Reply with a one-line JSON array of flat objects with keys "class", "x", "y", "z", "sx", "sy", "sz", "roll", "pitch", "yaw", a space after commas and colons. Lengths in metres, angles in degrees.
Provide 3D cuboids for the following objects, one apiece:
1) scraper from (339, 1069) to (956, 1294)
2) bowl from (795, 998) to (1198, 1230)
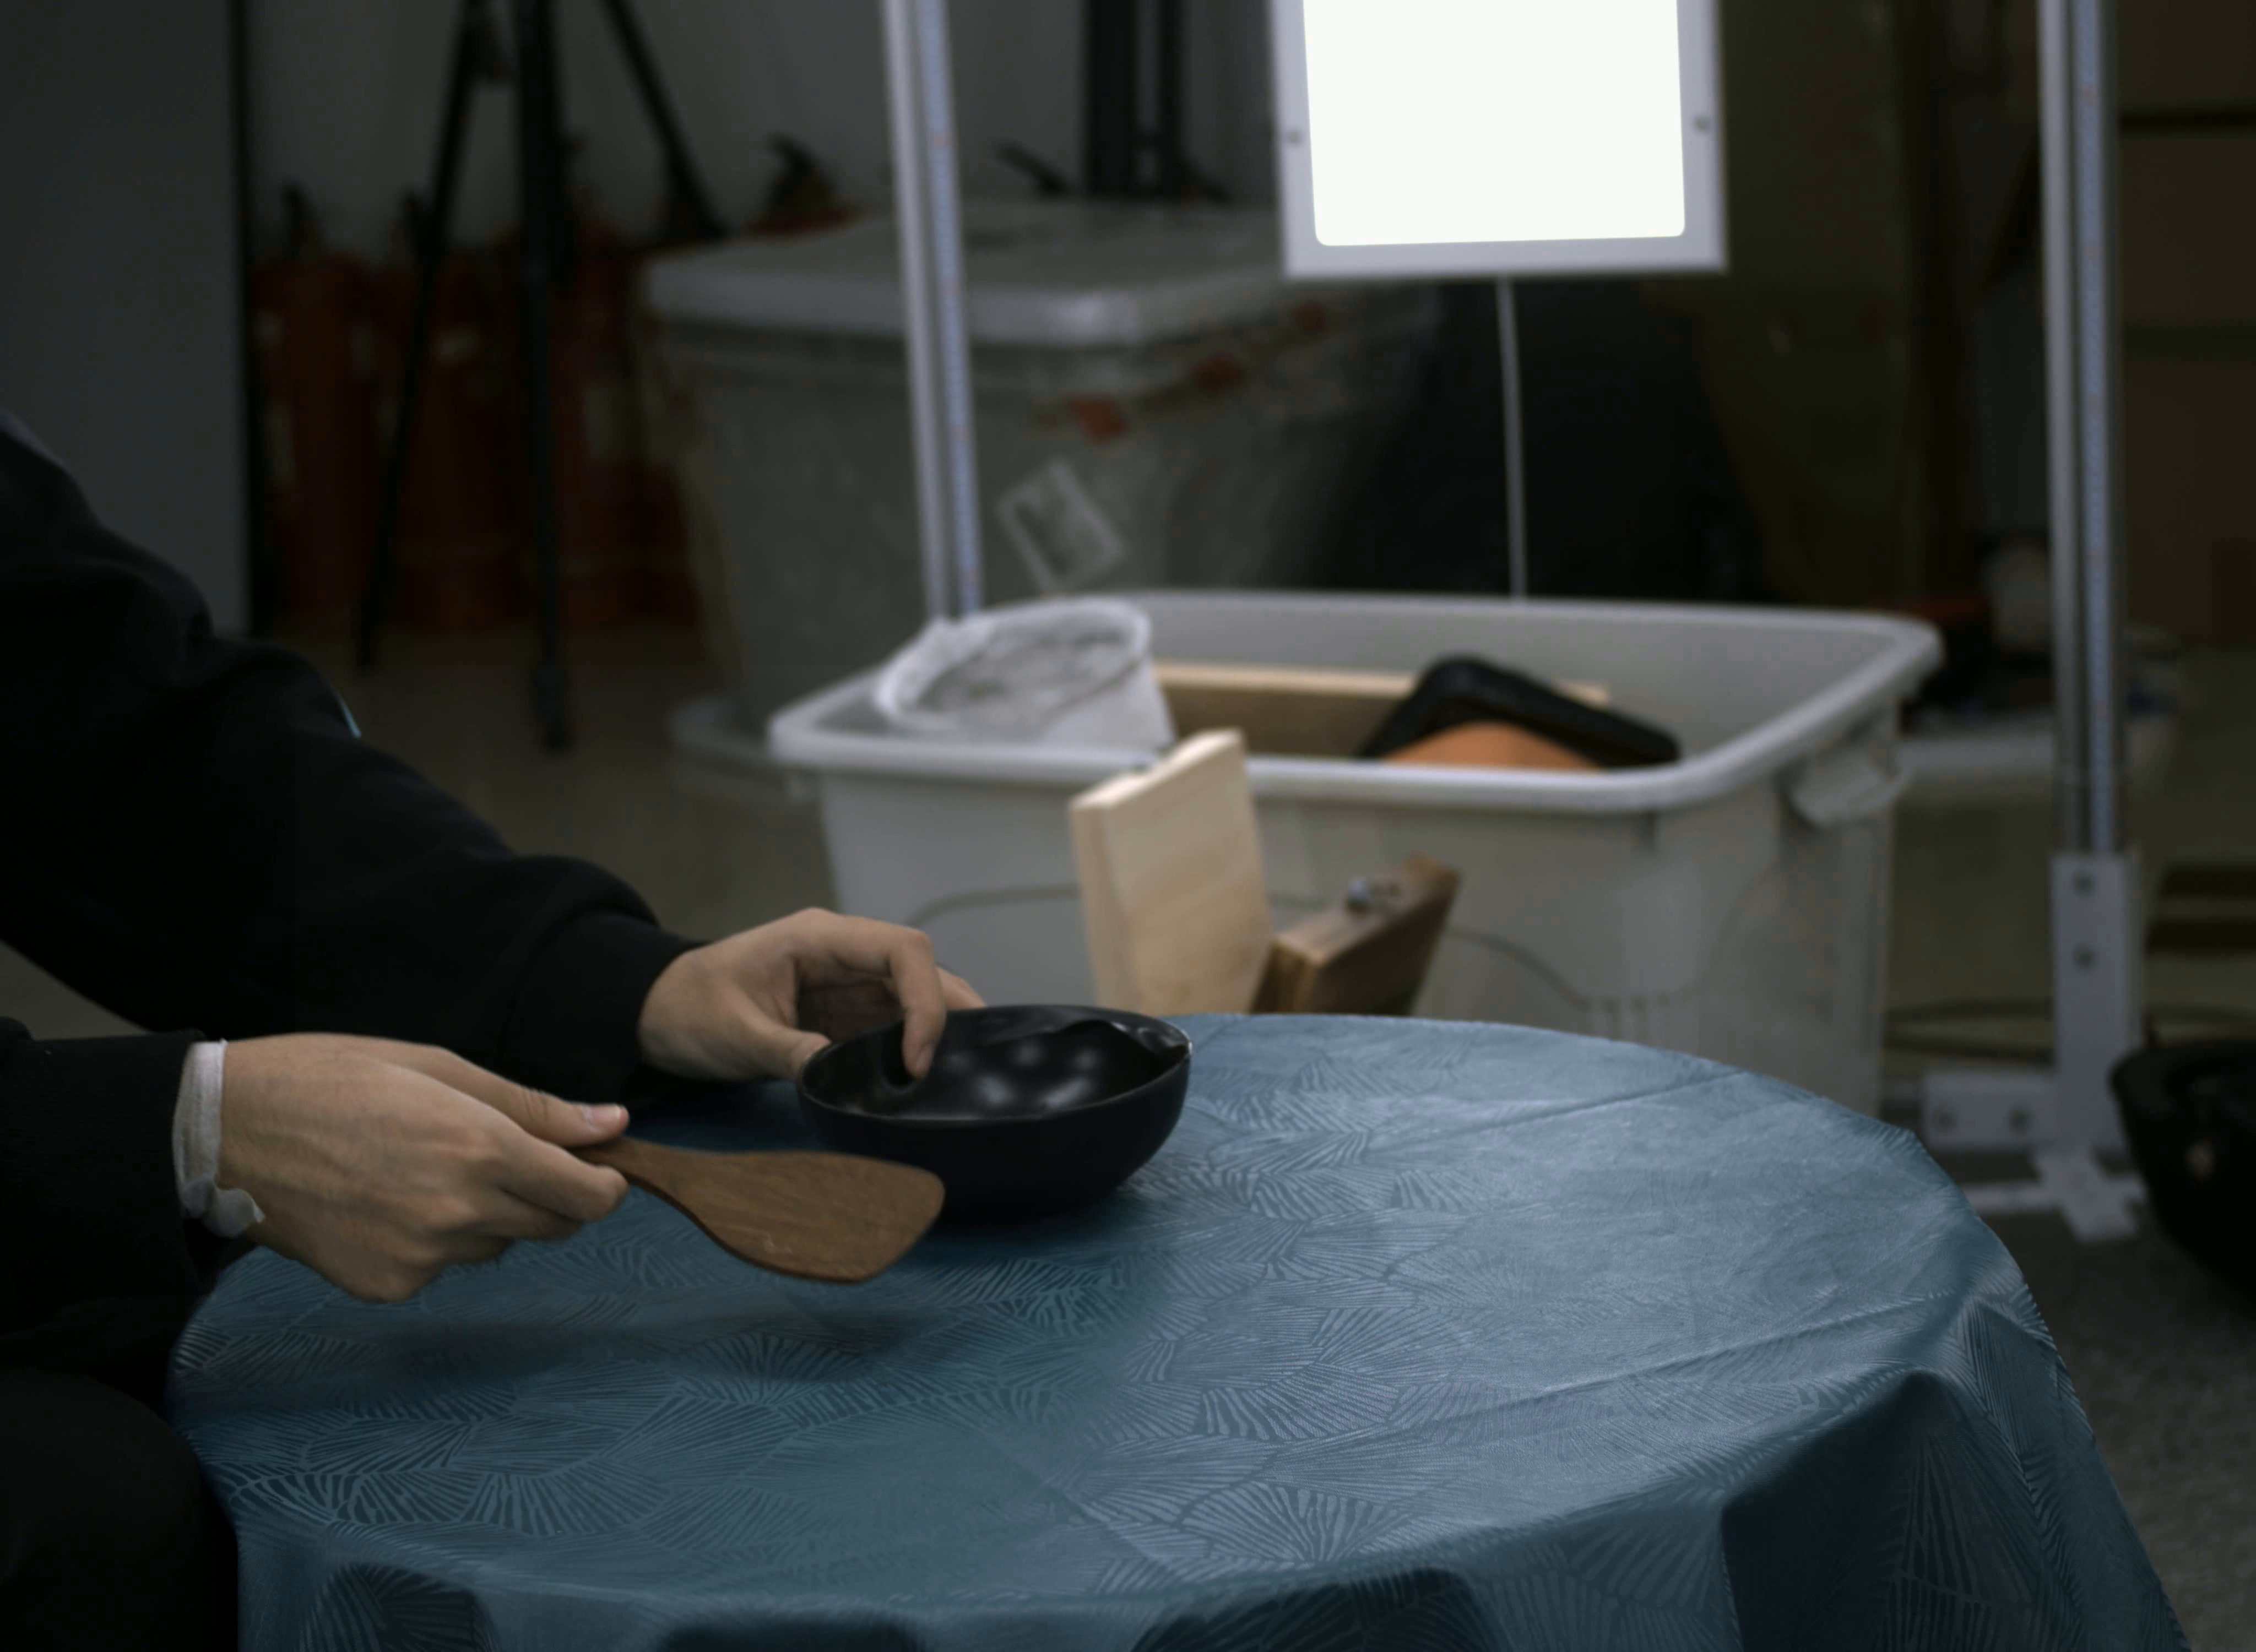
[{"class": "scraper", "x": -0.160, "y": 0.111, "z": 1.796, "sx": 0.214, "sy": 0.011, "sz": 0.074, "roll": 14, "pitch": 29, "yaw": 20}, {"class": "bowl", "x": -0.043, "y": 0.104, "z": 1.905, "sx": 0.140, "sy": 0.050, "sz": 0.140, "roll": -6, "pitch": 16, "yaw": 0}]
